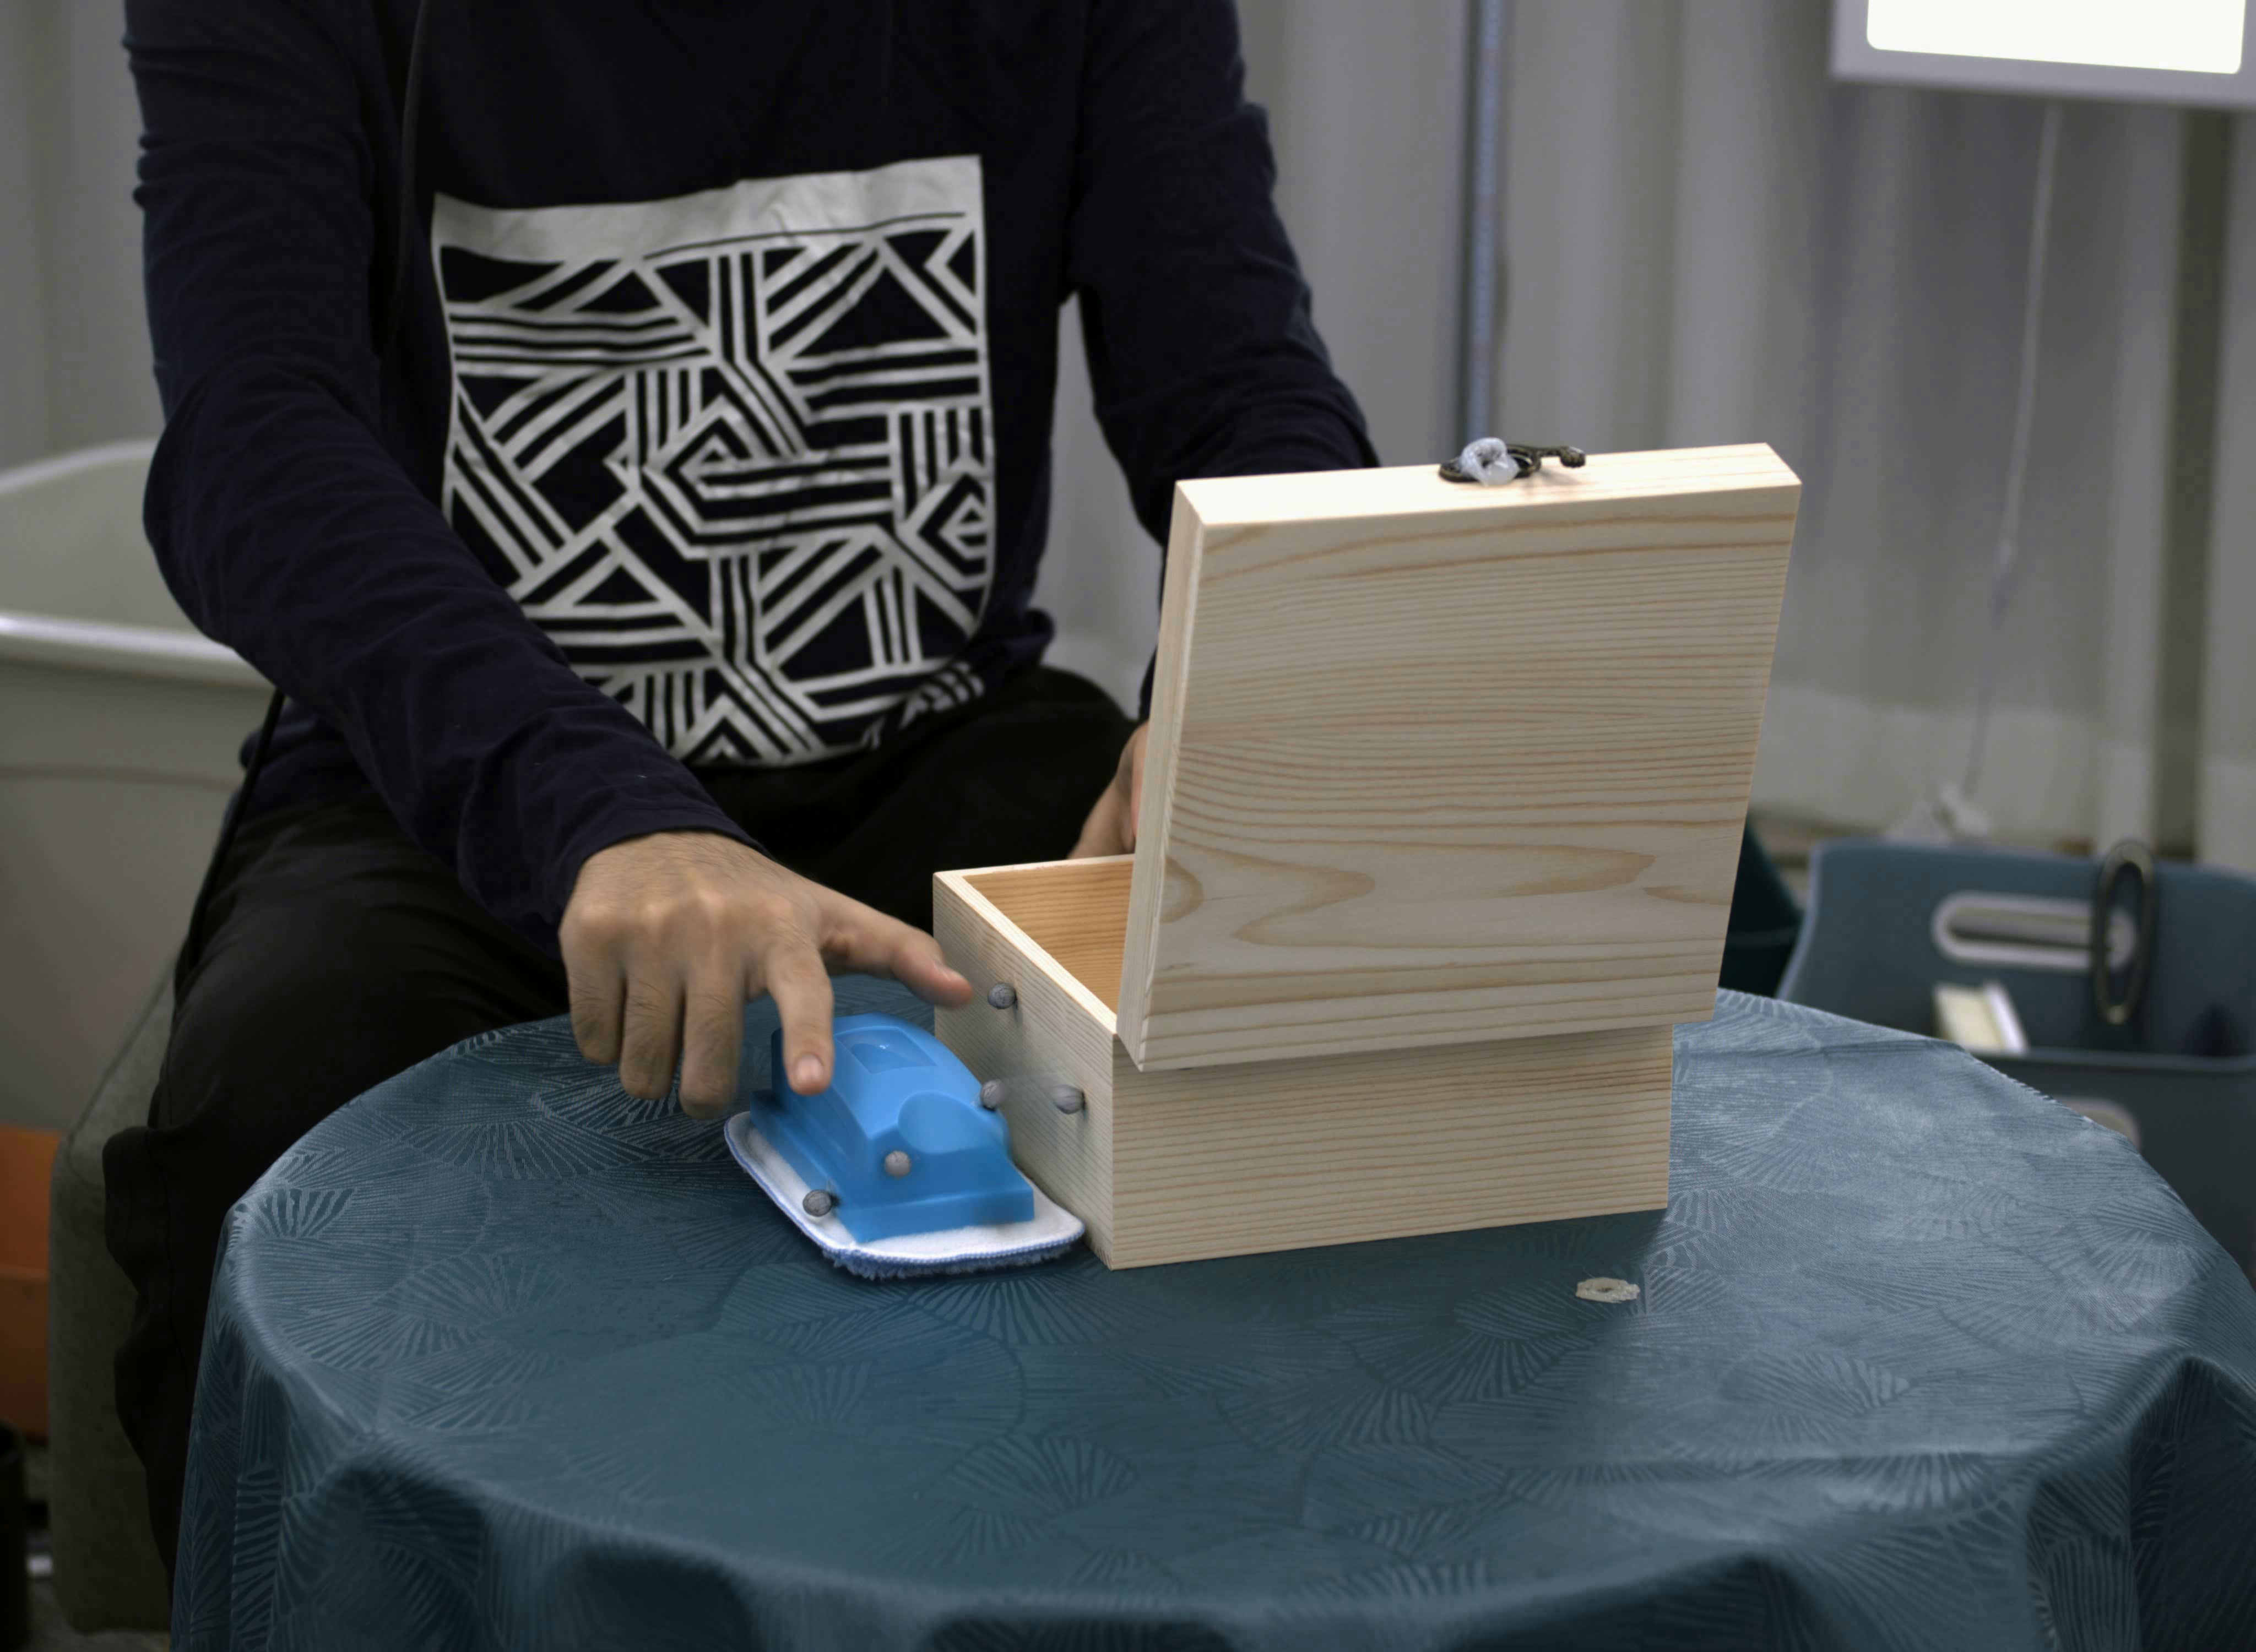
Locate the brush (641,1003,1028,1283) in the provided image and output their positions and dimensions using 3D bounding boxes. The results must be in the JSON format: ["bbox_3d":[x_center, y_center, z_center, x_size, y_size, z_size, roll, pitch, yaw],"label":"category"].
[{"bbox_3d":[-0.087,0.093,1.595,0.084,0.056,0.142,3,17,-29],"label":"brush"}]

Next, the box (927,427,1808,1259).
[{"bbox_3d":[0.062,-0.012,1.600,0.182,0.255,0.262,-5,17,-20],"label":"box"}]
